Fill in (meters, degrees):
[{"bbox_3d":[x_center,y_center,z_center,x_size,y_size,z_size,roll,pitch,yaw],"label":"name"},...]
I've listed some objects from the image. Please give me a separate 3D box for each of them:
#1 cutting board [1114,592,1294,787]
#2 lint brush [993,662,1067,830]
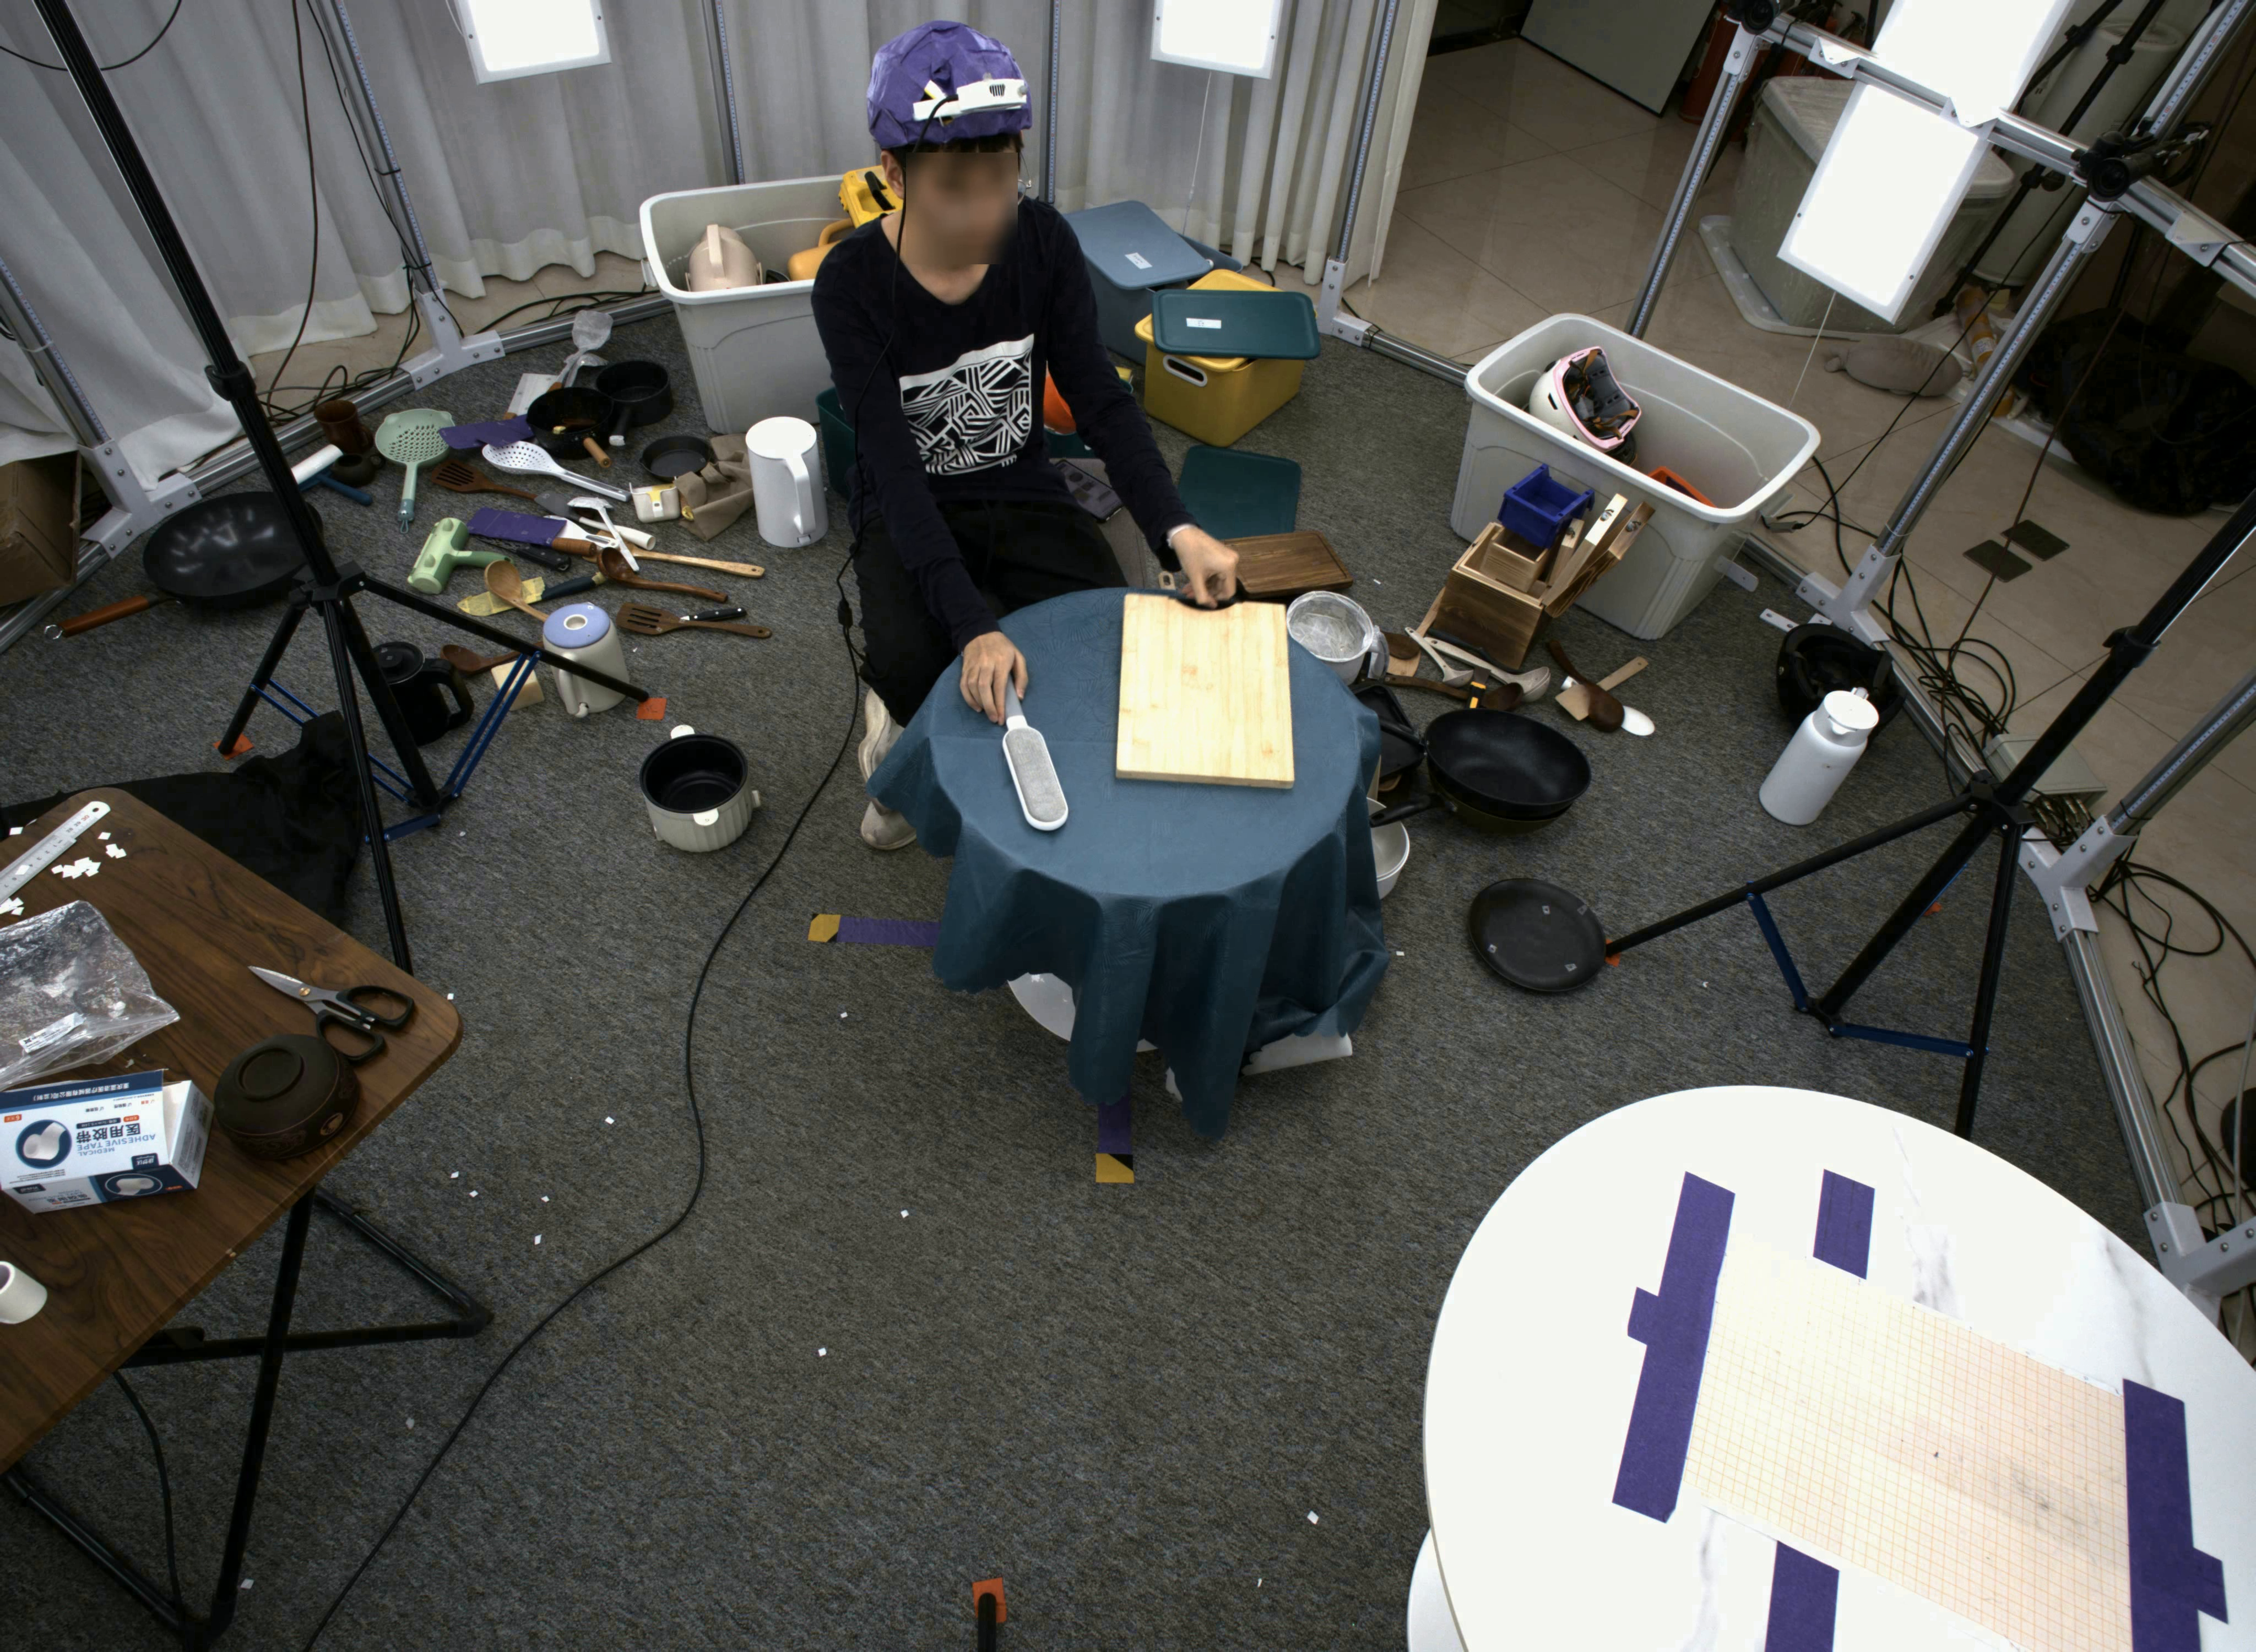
[{"bbox_3d":[0.109,-0.200,1.827,0.250,0.023,0.357,3,52,-2],"label":"cutting board"},{"bbox_3d":[-0.140,-0.115,1.739,0.060,0.020,0.316,-12,51,-10],"label":"lint brush"}]
